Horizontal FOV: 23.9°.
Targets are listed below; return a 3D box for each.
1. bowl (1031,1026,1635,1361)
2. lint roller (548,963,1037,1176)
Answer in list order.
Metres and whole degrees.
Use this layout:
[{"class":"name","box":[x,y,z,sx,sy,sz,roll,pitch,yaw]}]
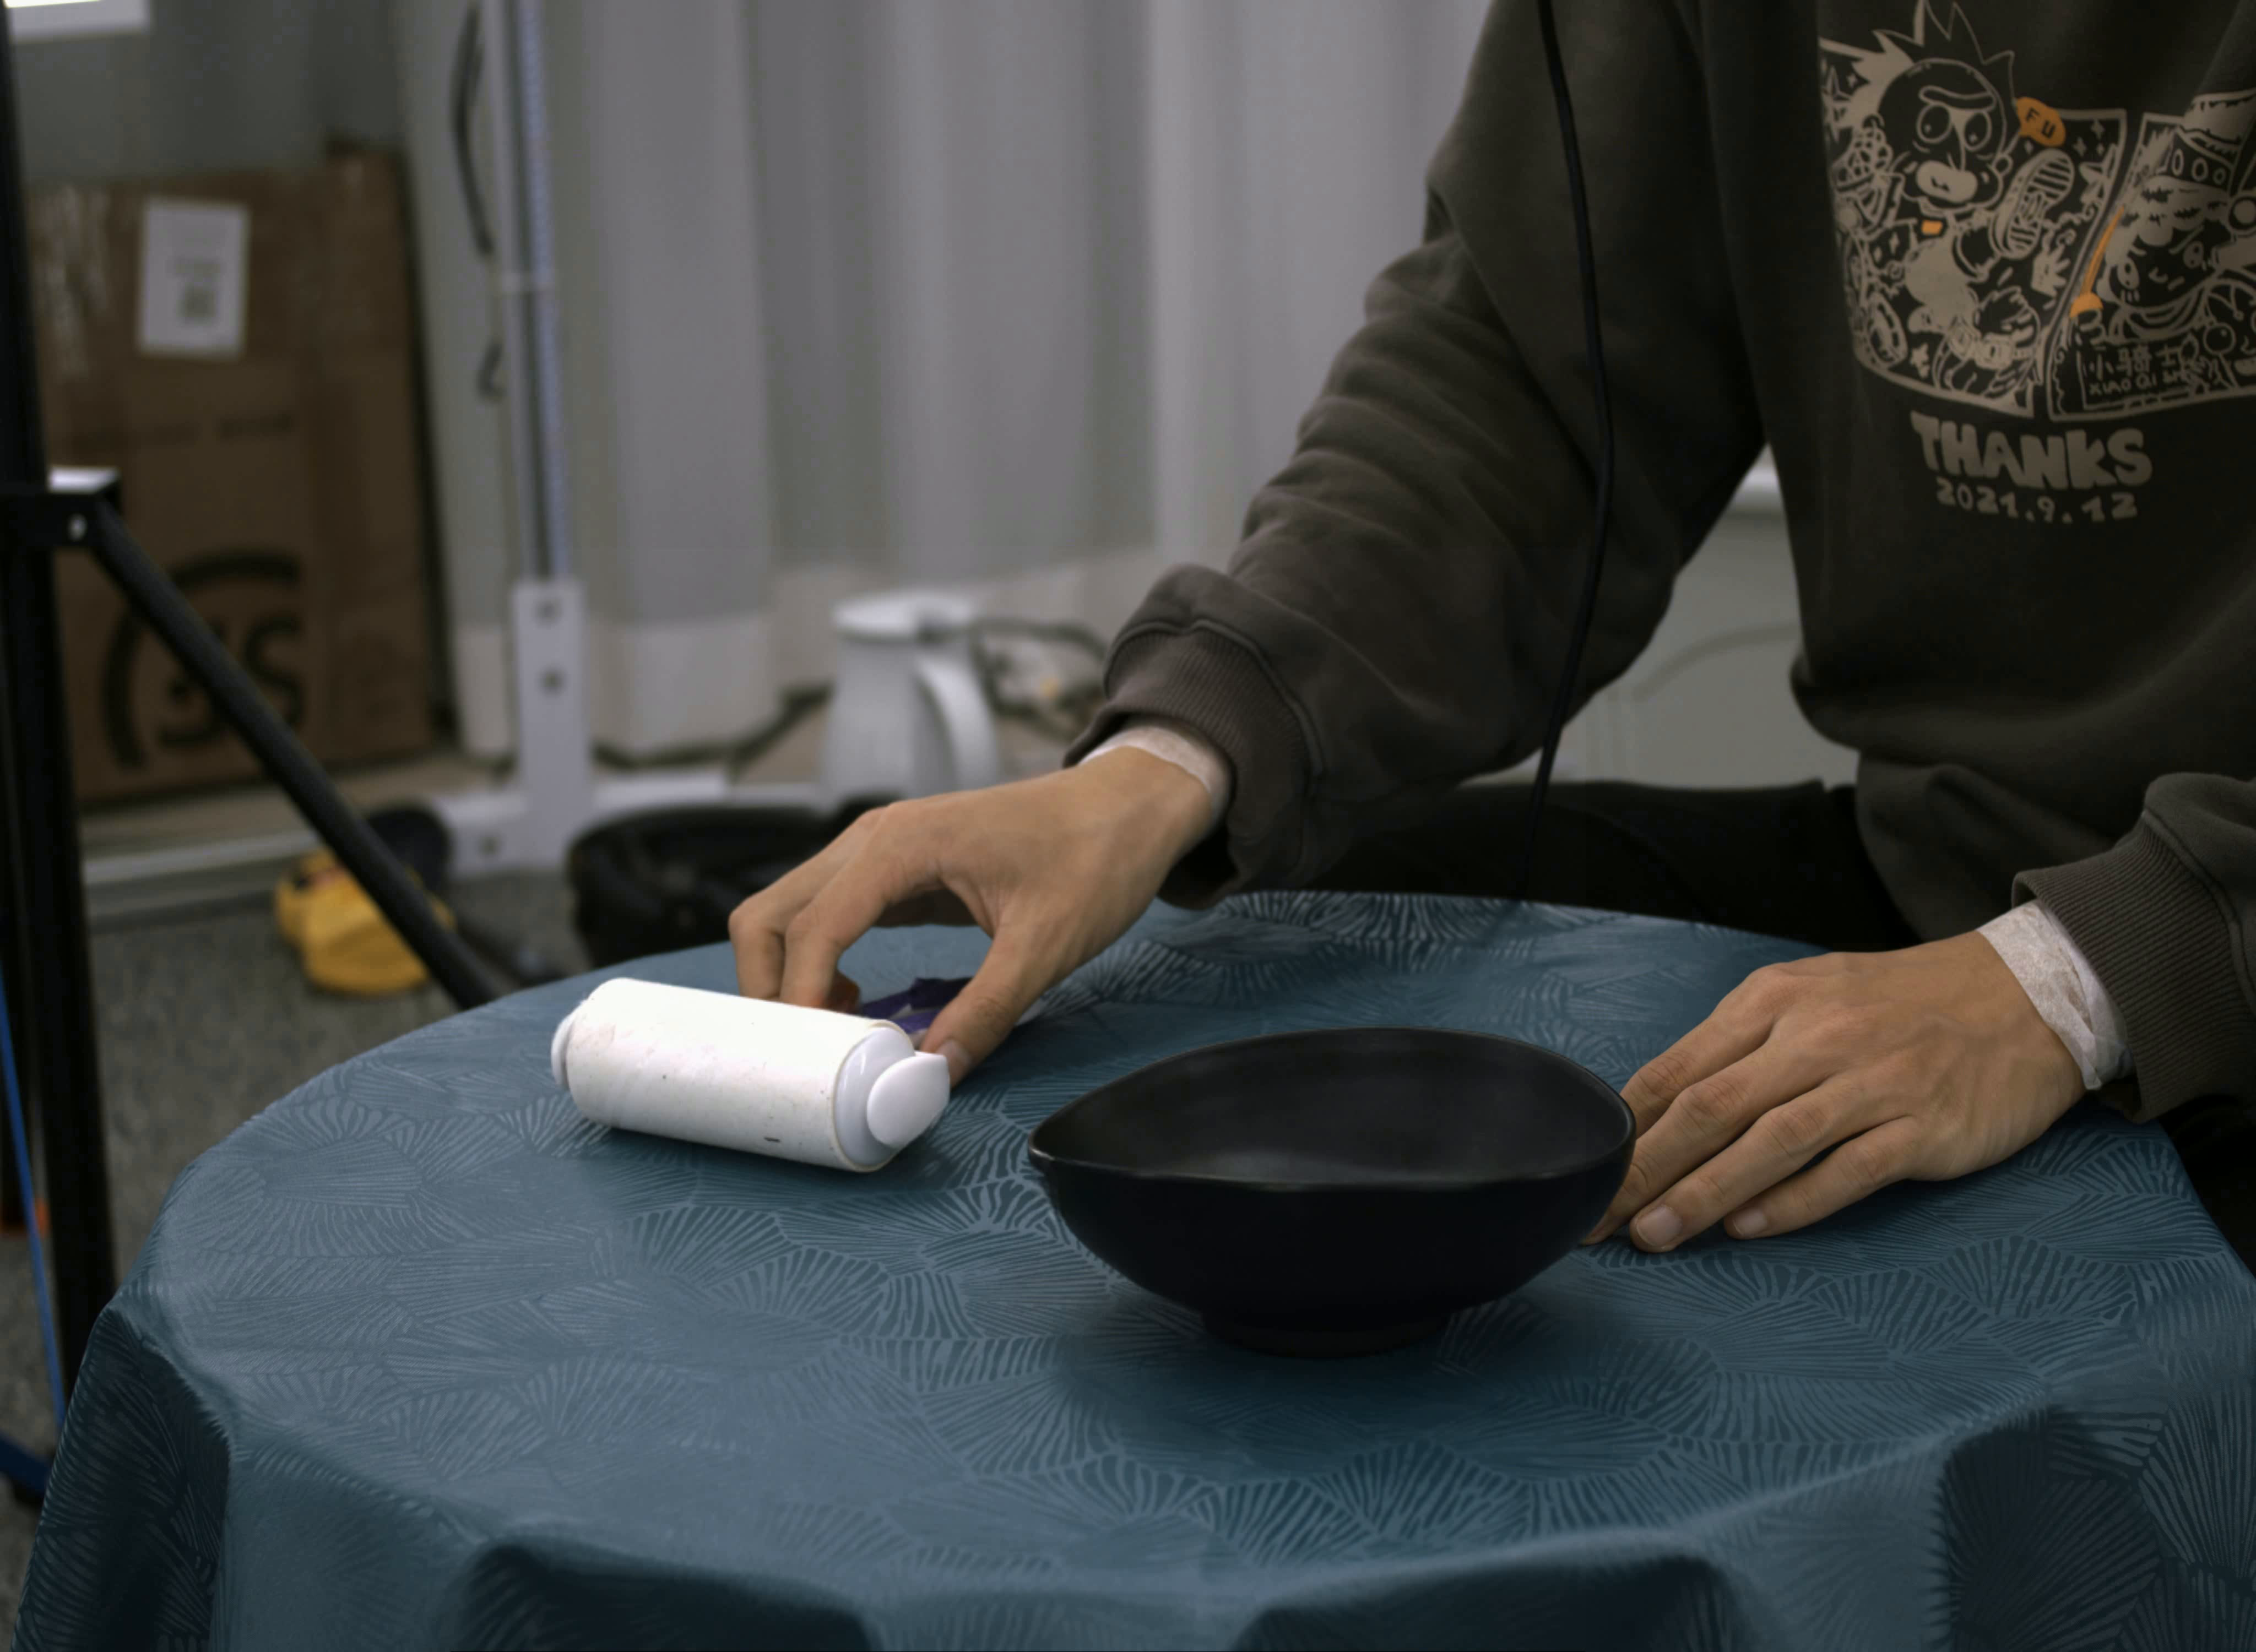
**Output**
[{"class":"bowl","box":[0.055,0.105,1.447,0.172,0.067,0.136,1,15,19]},{"class":"lint roller","box":[-0.081,0.058,1.666,0.135,0.050,0.177,8,22,35]}]
